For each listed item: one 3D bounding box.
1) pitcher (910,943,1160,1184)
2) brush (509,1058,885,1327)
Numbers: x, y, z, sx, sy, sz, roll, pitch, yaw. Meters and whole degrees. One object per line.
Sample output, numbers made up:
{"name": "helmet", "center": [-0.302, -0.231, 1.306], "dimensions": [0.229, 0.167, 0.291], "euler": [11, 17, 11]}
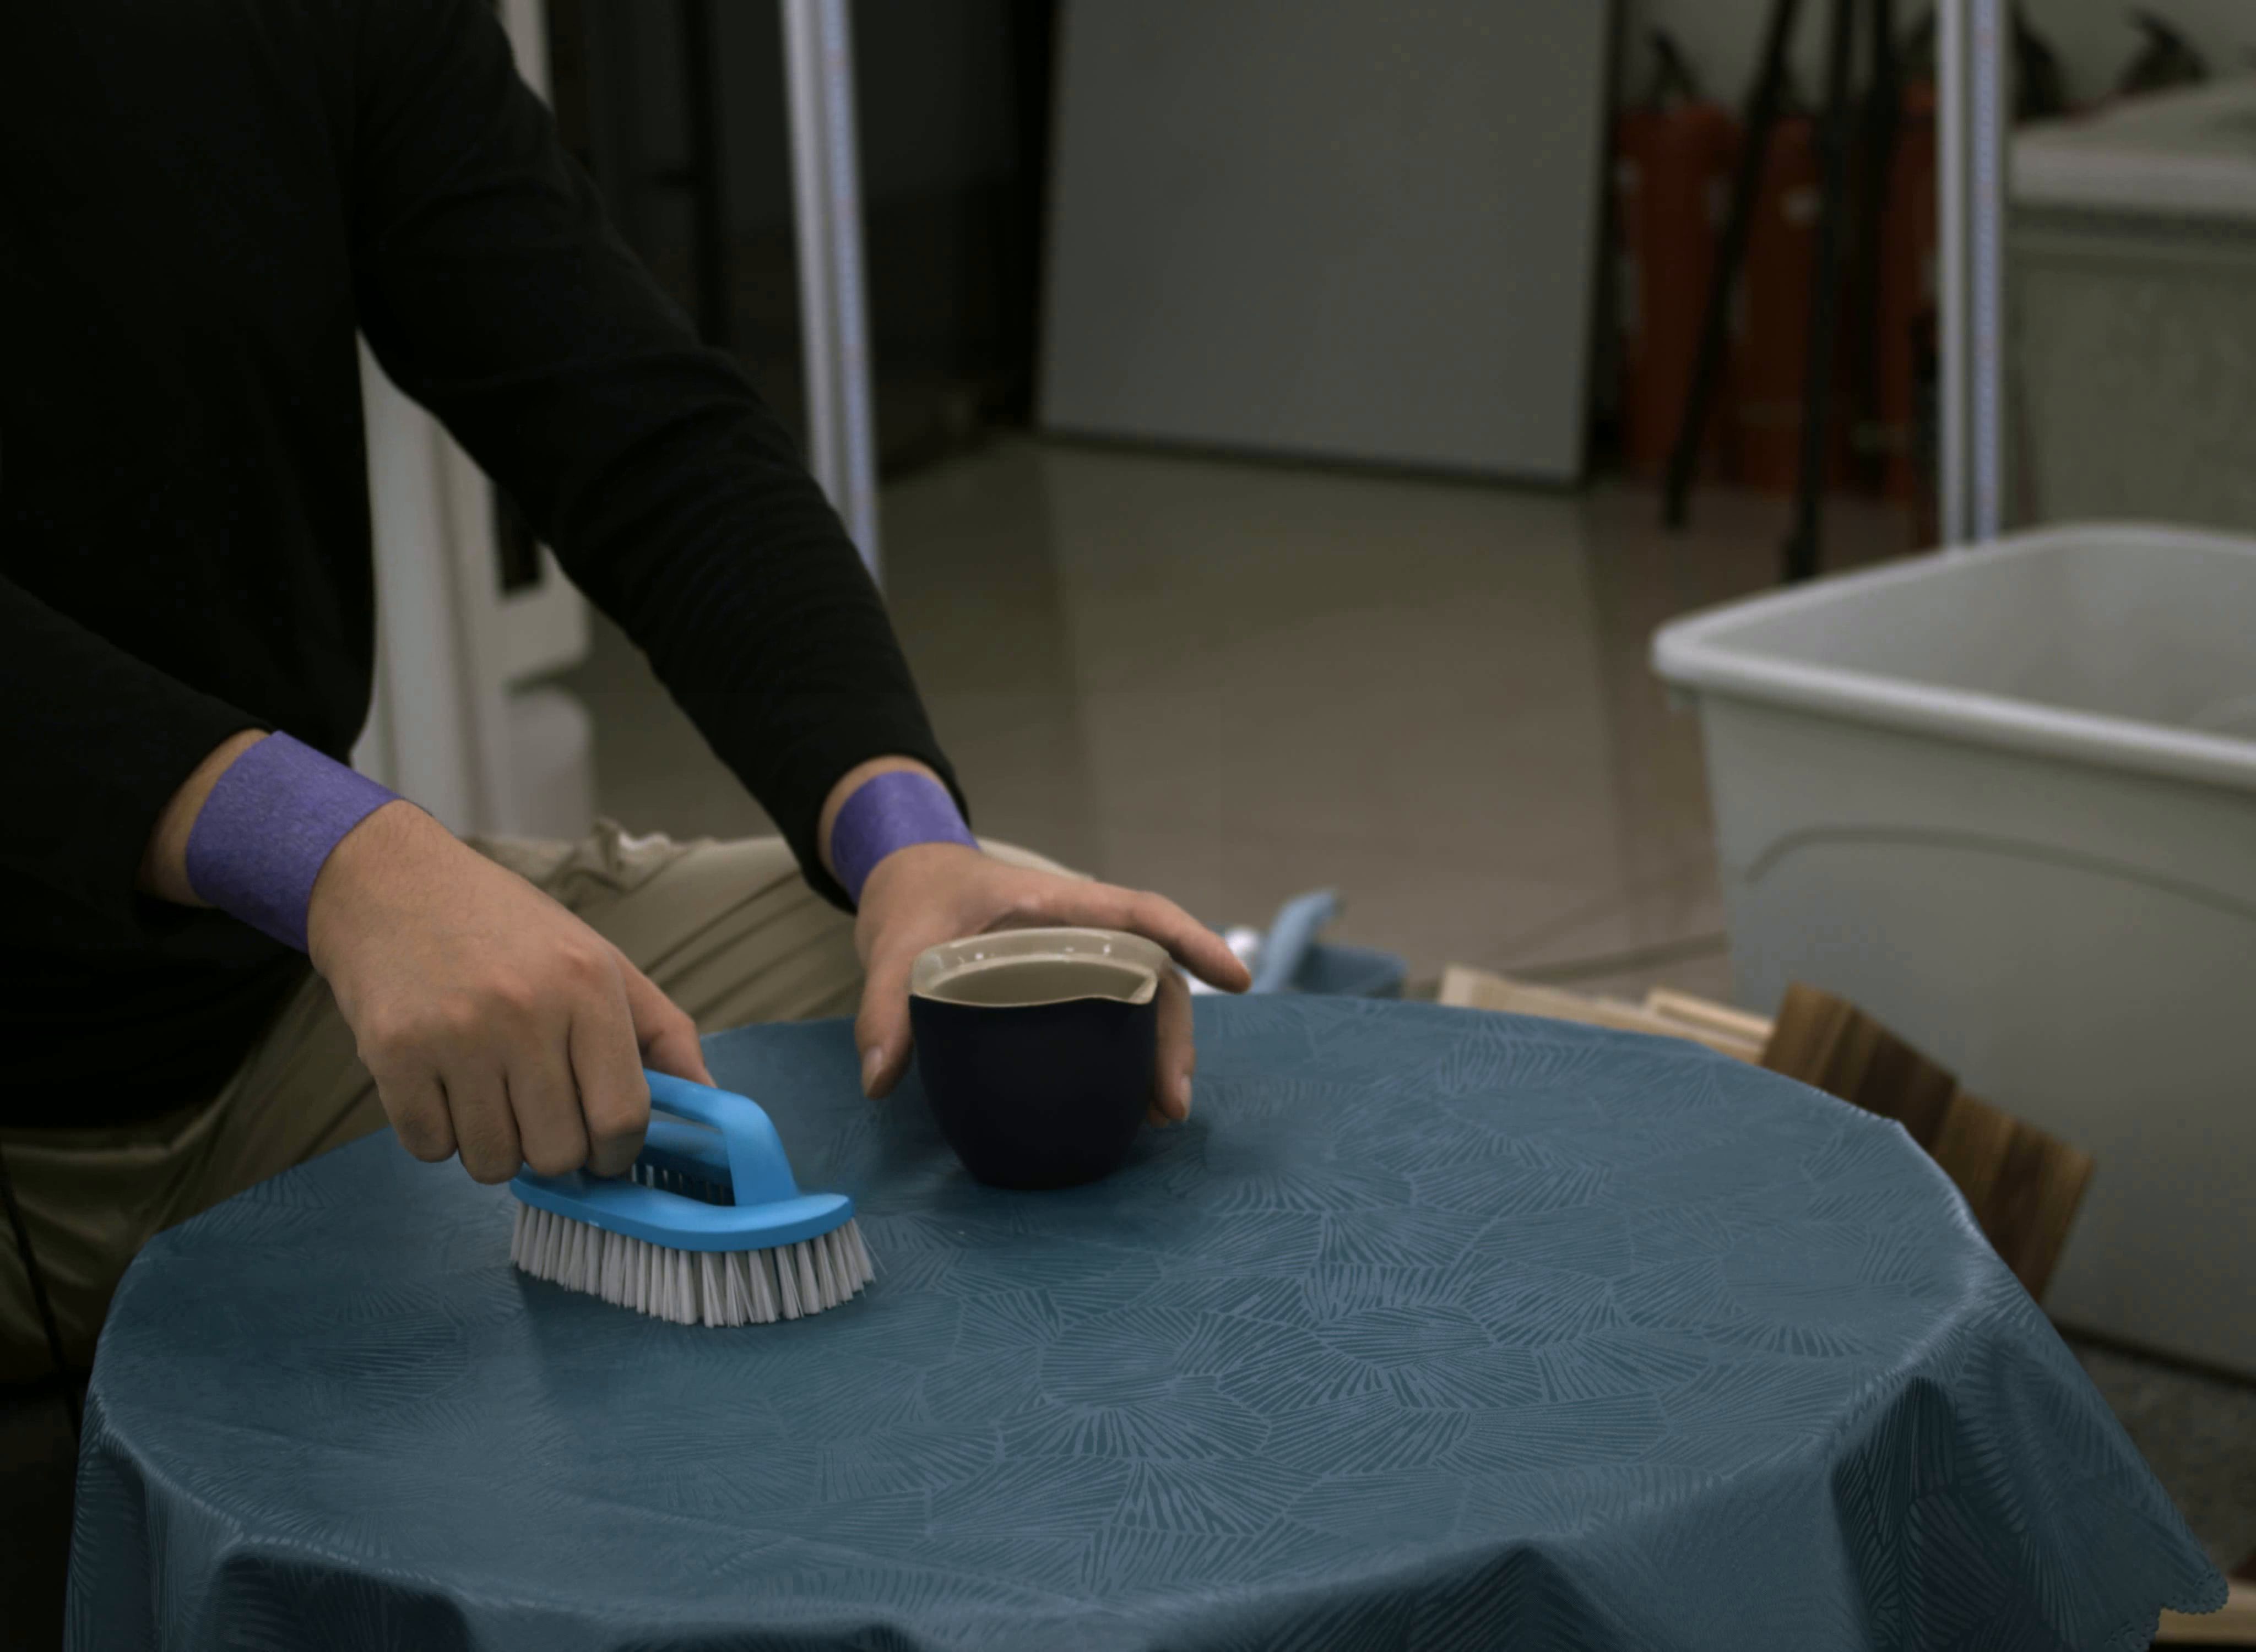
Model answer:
{"name": "pitcher", "center": [-0.027, 0.078, 1.792], "dimensions": [0.082, 0.072, 0.097], "euler": [-12, 17, -35]}
{"name": "brush", "center": [-0.141, 0.109, 1.717], "dimensions": [0.082, 0.064, 0.143], "euler": [-20, 19, -37]}
